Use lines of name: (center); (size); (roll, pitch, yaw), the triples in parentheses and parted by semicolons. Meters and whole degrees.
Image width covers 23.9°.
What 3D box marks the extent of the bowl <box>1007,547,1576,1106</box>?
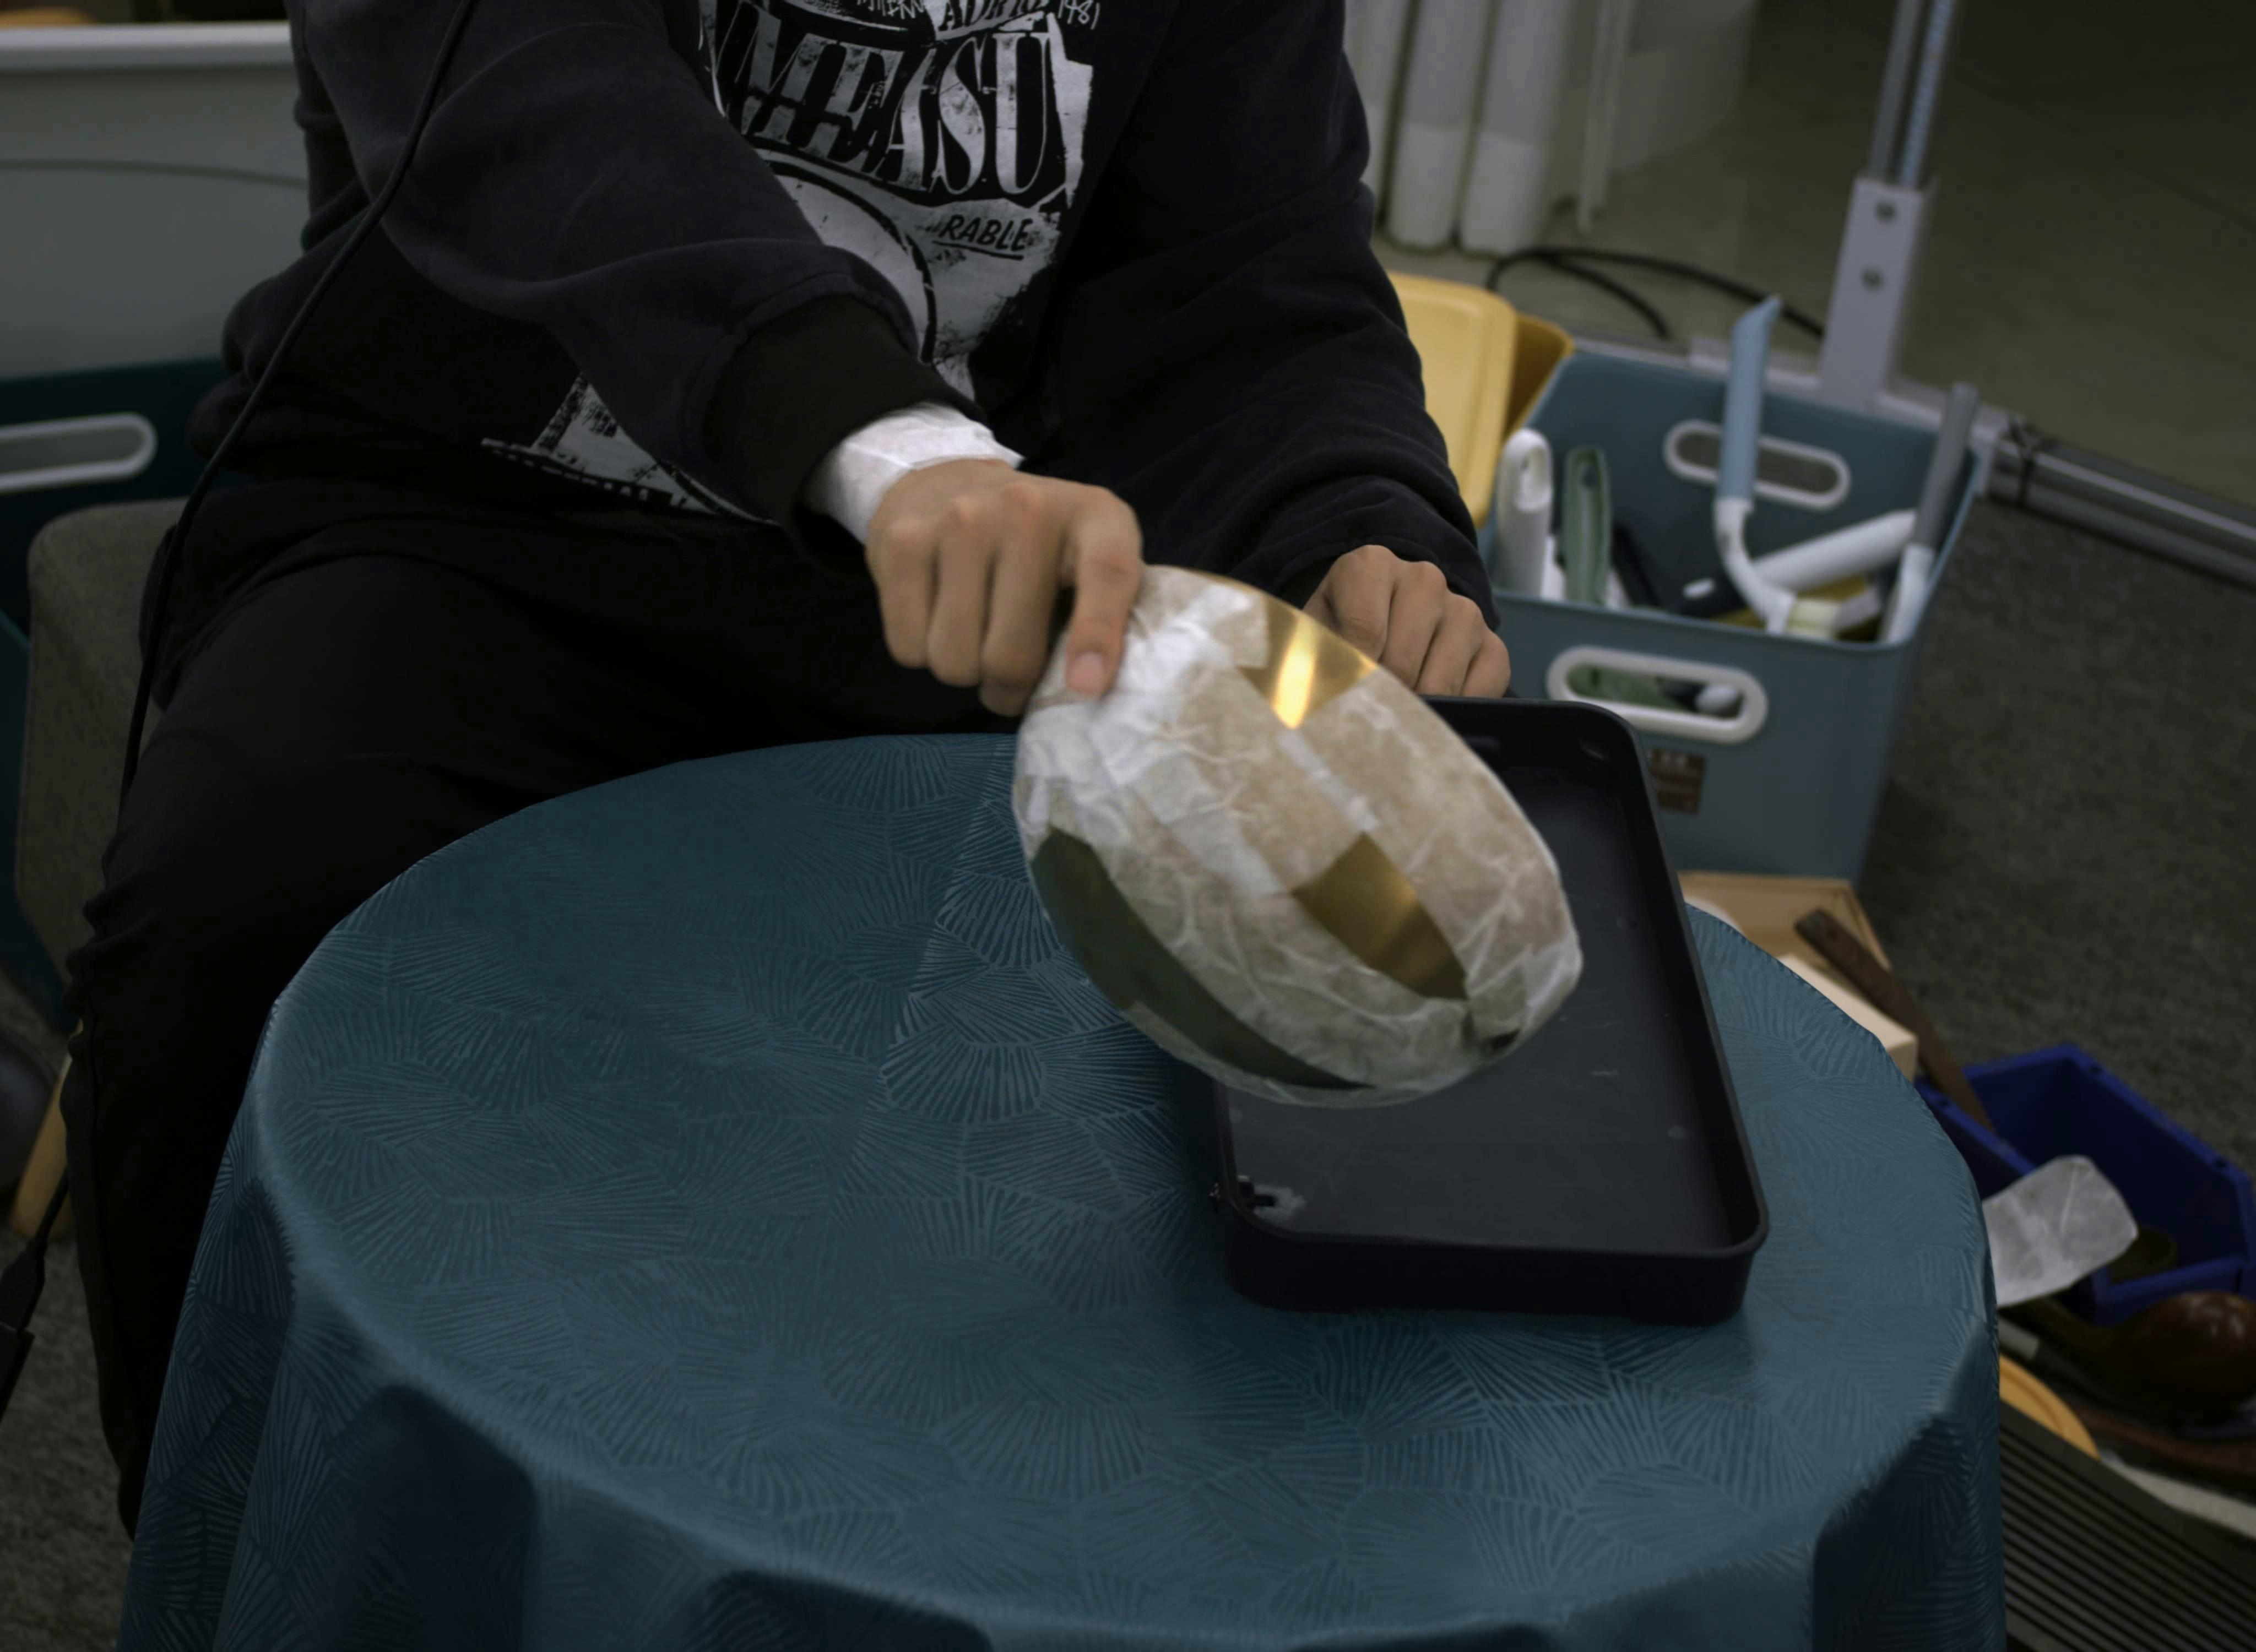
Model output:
bowl: (0.032, 0.020, 1.686); (0.216, 0.213, 0.094); (27, 63, 34)

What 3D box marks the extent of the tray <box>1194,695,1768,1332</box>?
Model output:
tray: (0.111, 0.058, 1.867); (0.183, 0.037, 0.320); (4, 35, -7)
